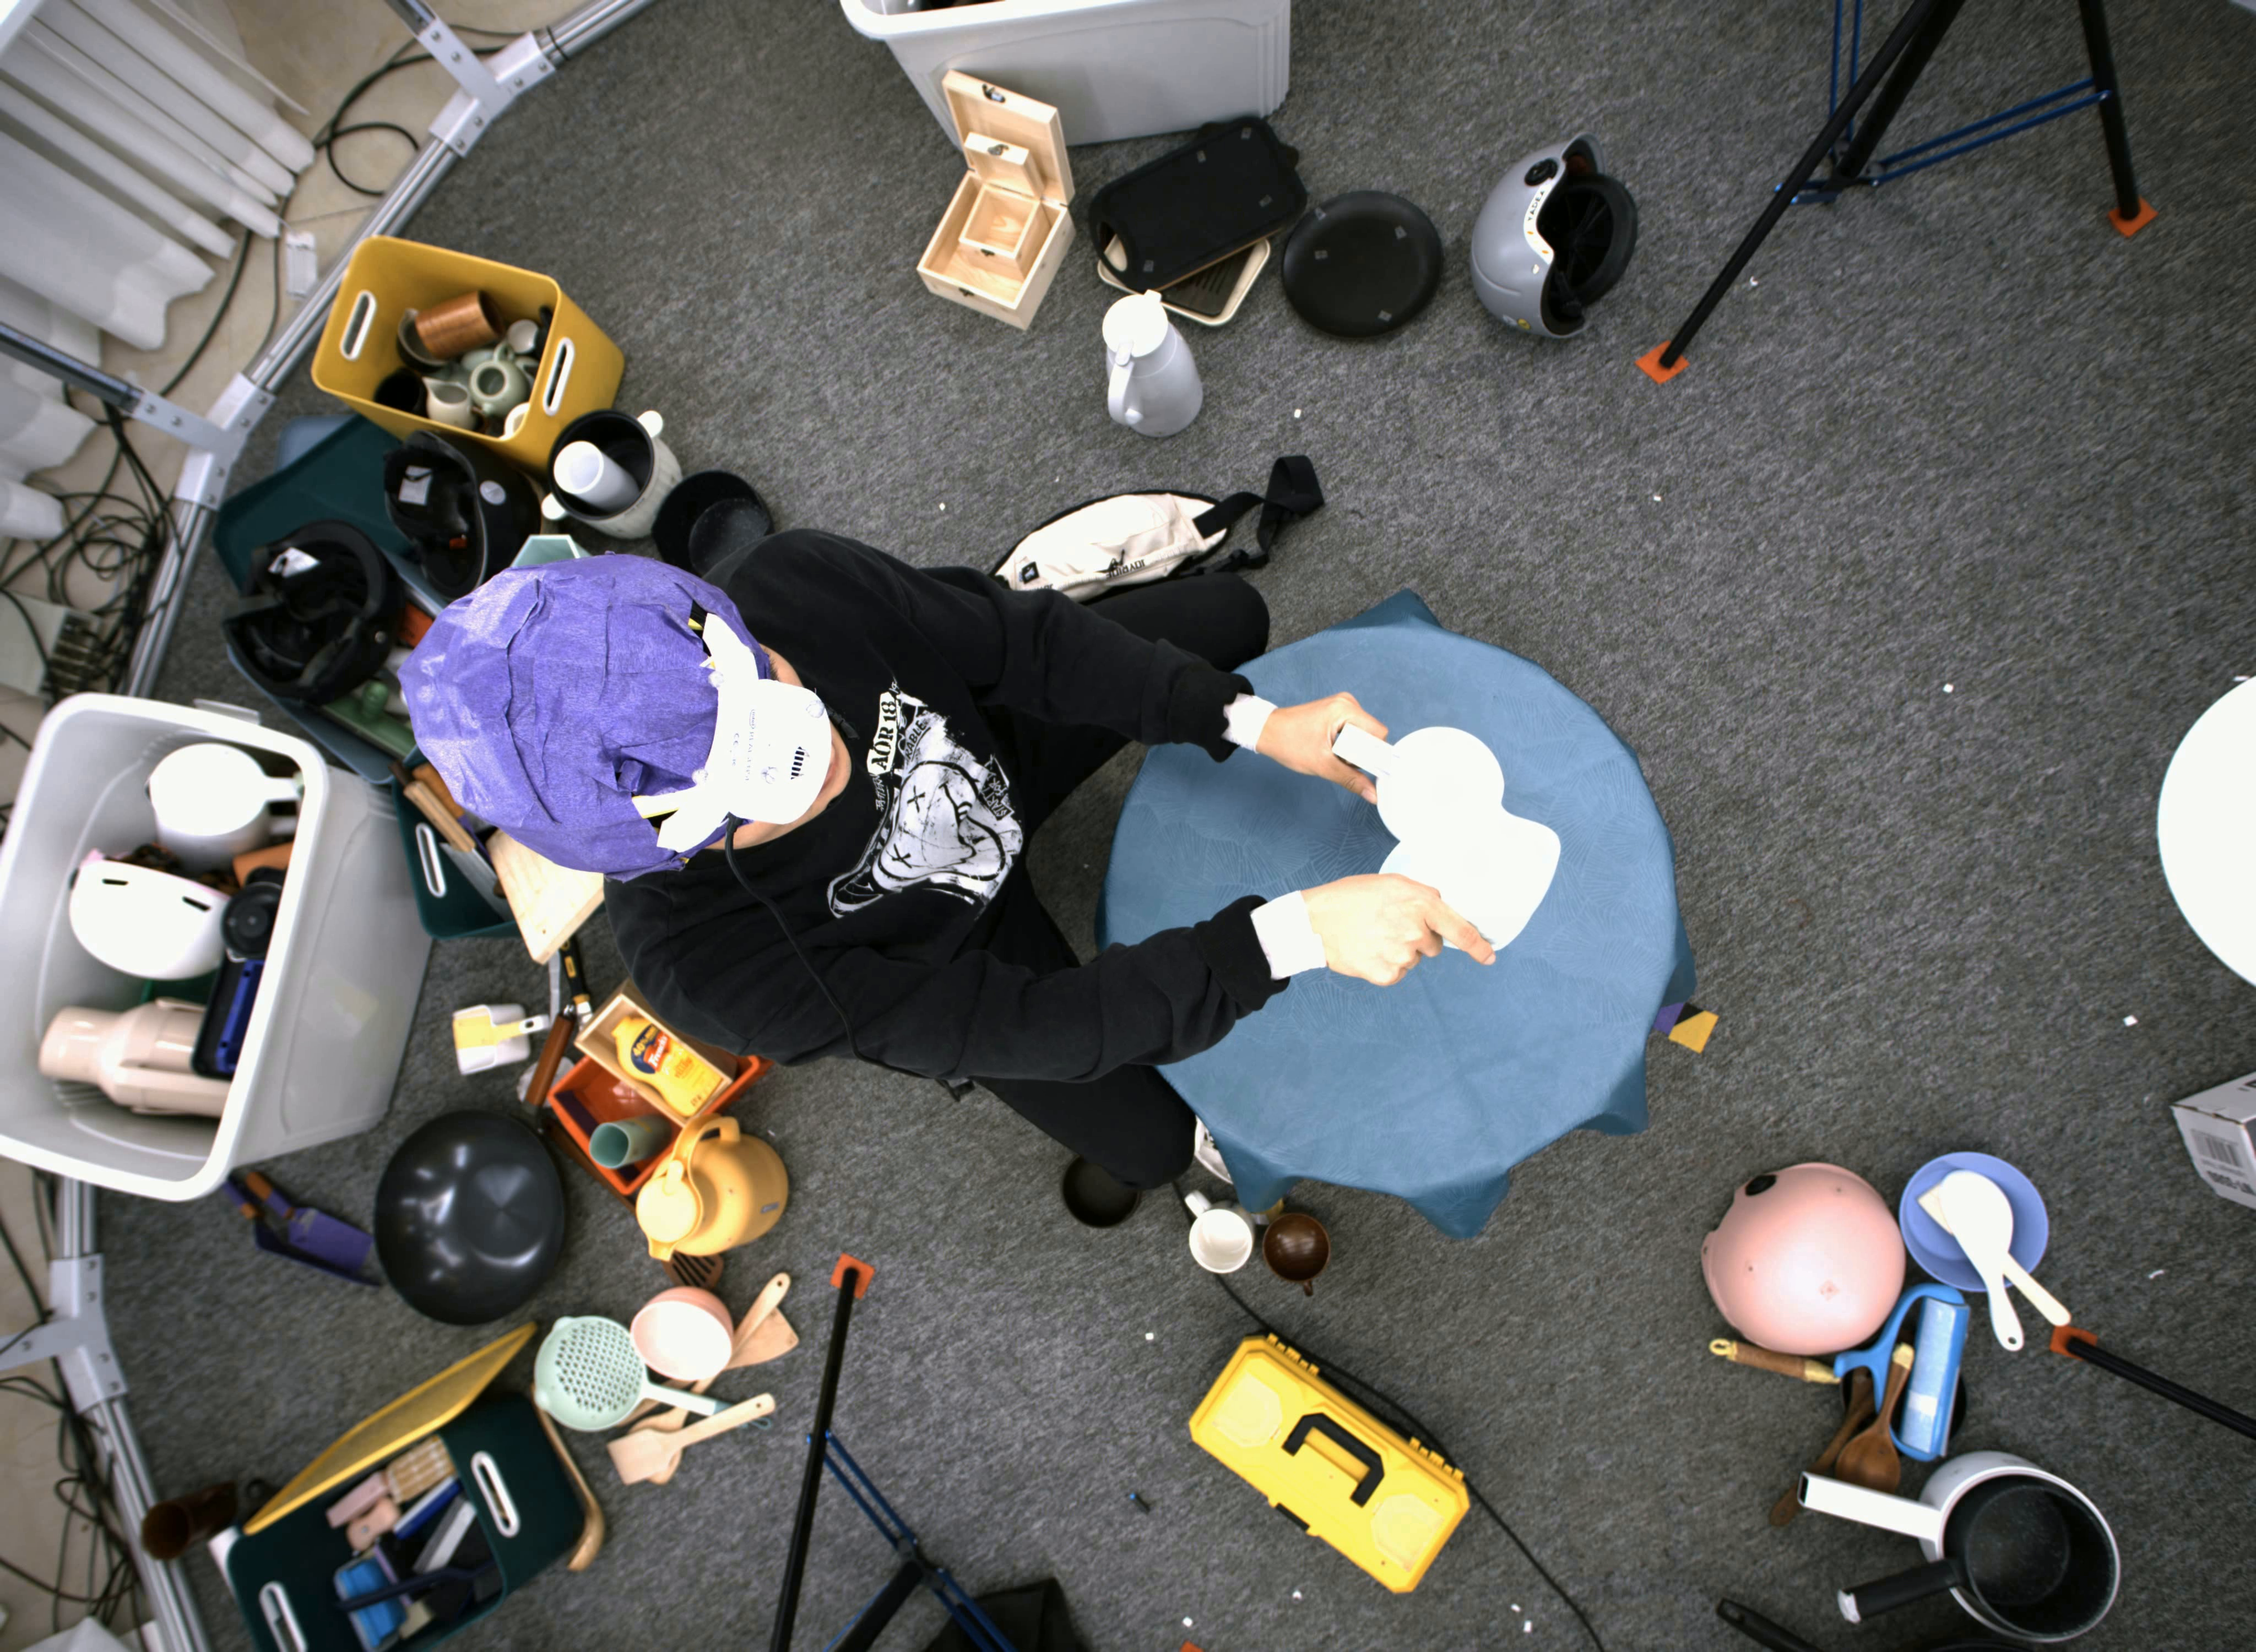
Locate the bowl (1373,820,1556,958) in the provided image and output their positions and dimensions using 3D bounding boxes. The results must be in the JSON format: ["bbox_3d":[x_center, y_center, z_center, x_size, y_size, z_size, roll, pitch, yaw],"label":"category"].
[{"bbox_3d":[0.280,0.057,1.132,0.152,0.148,0.060,-17,121,9],"label":"bowl"}]

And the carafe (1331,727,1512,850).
[{"bbox_3d":[0.281,-0.042,1.324,0.172,0.266,0.125,27,100,9],"label":"carafe"}]
